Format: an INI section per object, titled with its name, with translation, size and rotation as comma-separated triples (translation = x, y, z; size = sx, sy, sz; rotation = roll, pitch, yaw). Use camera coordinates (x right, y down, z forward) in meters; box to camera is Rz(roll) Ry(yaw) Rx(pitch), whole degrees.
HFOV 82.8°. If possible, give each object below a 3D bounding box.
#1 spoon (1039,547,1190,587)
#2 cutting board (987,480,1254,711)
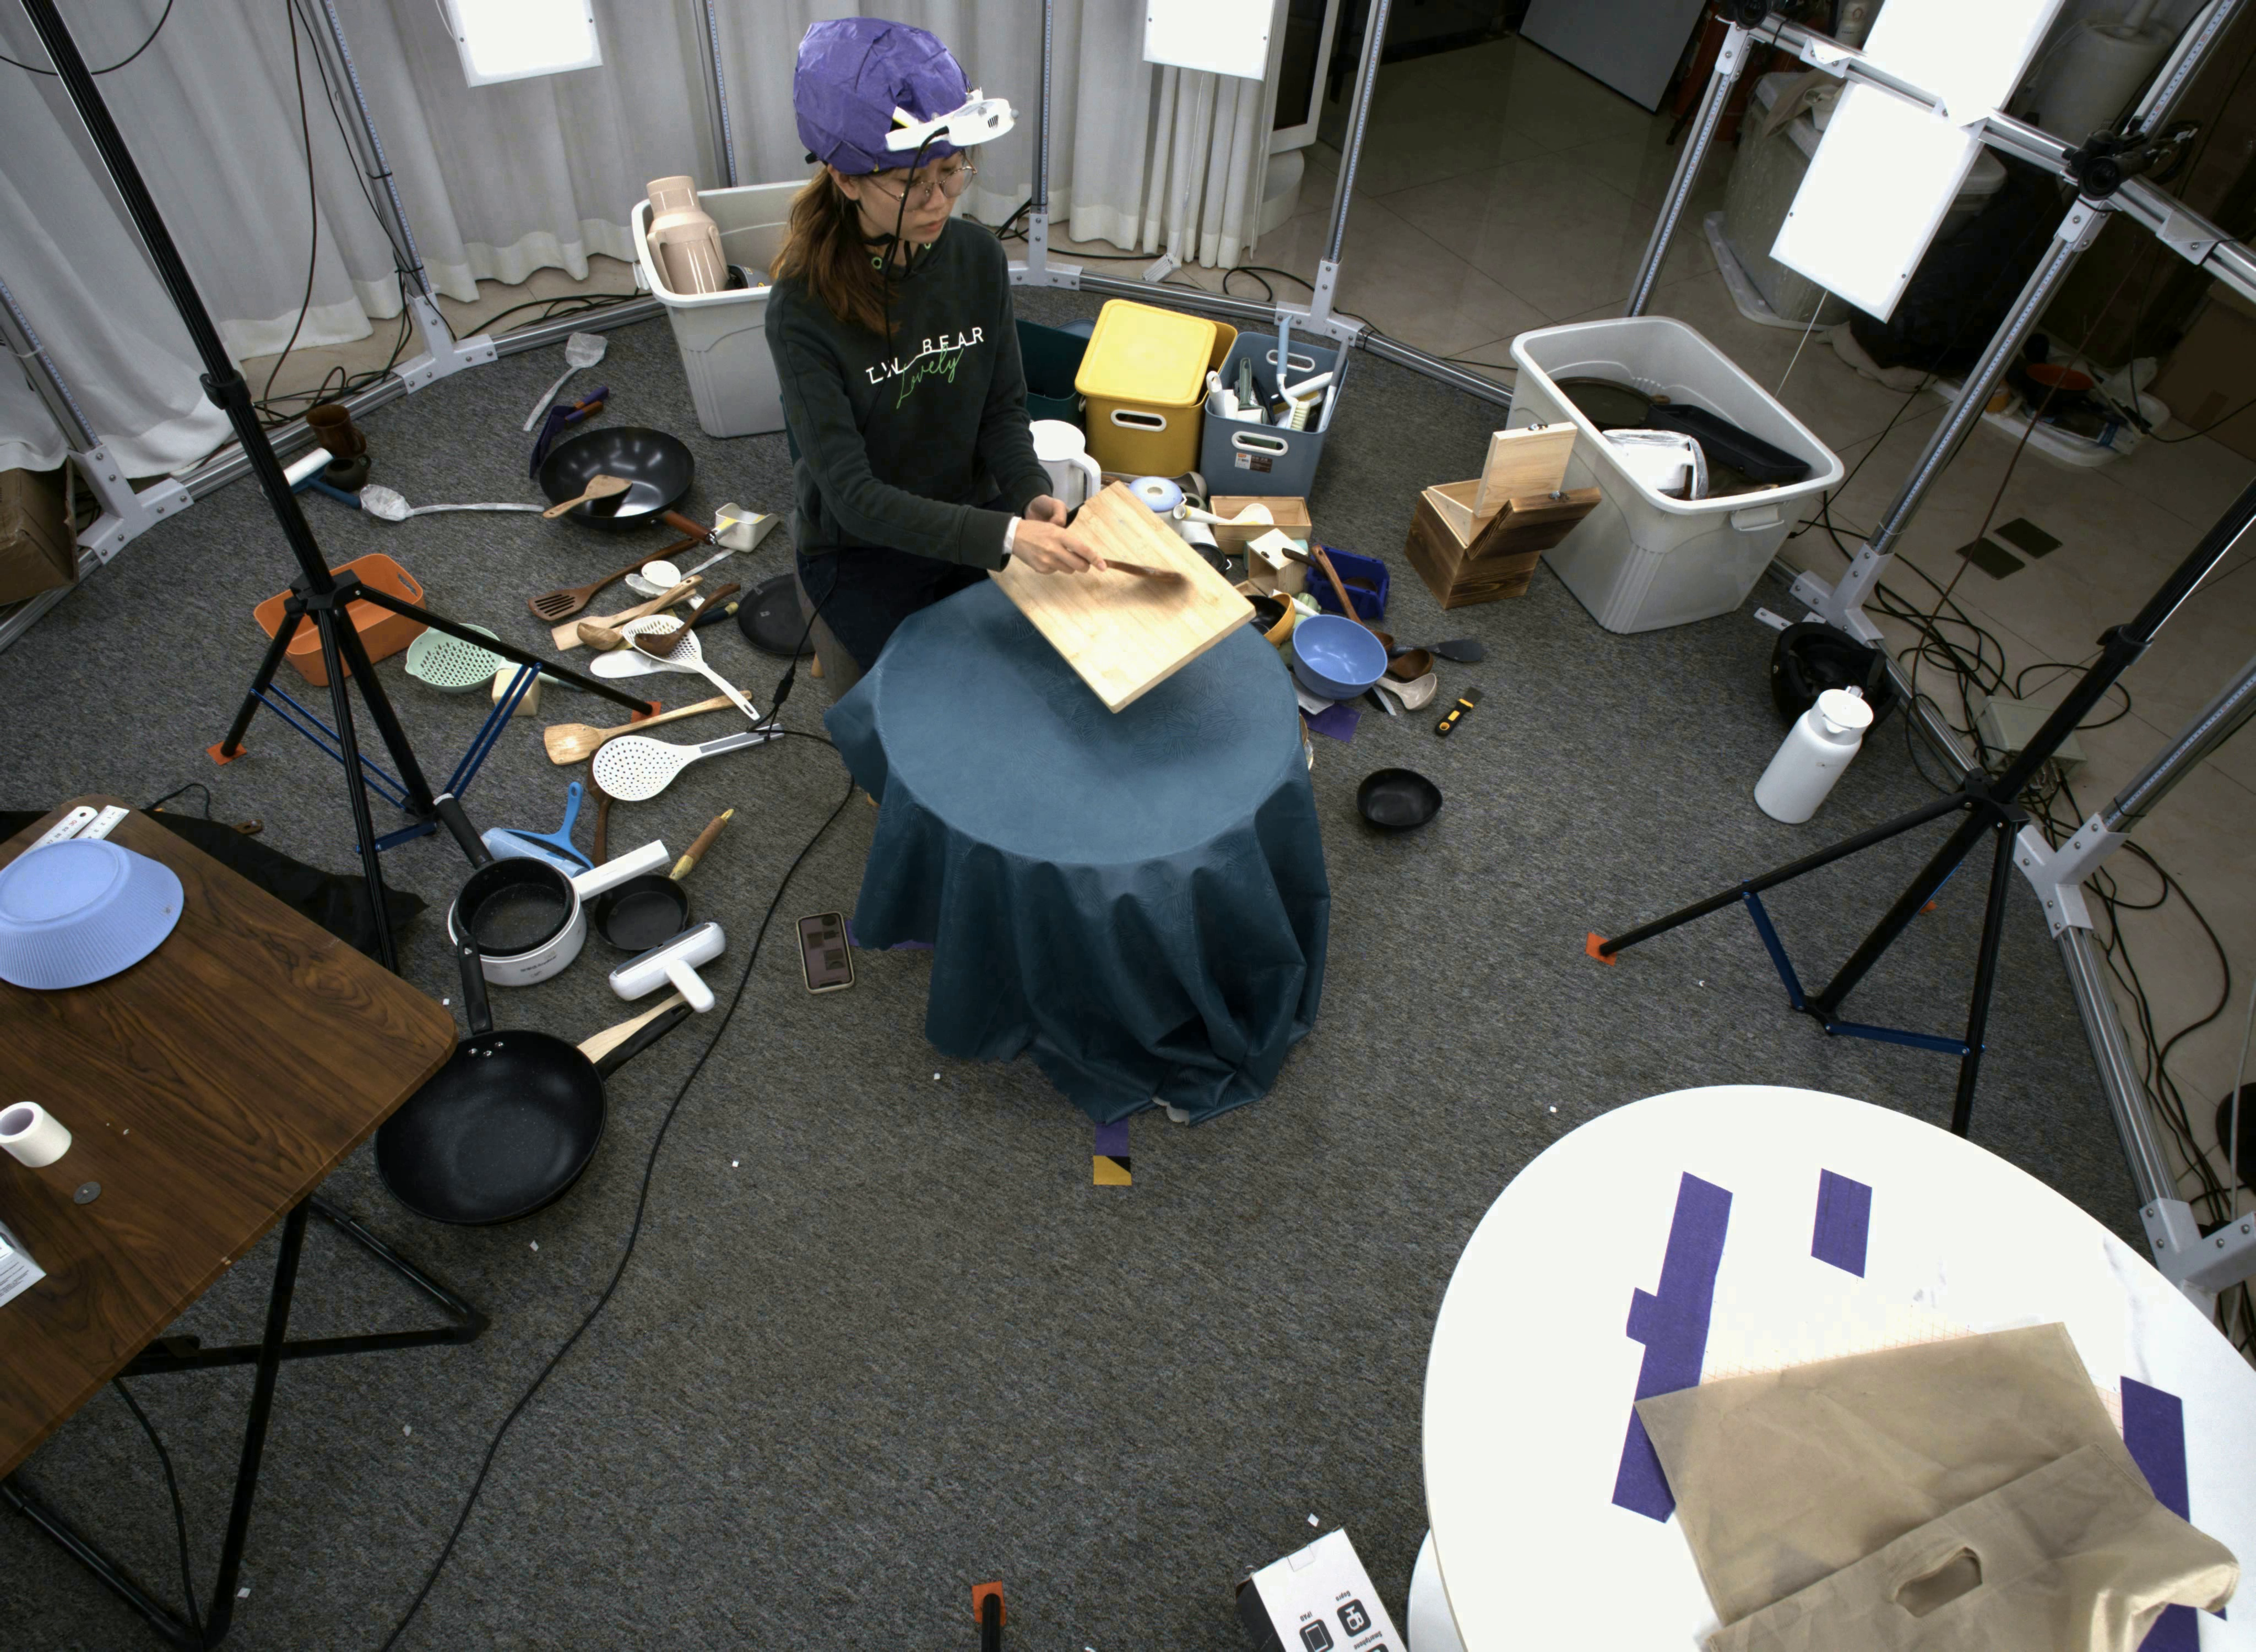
[spoon]
translation = -0.020, -0.357, 1.783
size = 0.216, 0.017, 0.076
rotation = 15, 16, 10
[cutting board]
translation = -0.018, -0.335, 1.829
size = 0.251, 0.023, 0.356
rotation = -35, 56, -9
